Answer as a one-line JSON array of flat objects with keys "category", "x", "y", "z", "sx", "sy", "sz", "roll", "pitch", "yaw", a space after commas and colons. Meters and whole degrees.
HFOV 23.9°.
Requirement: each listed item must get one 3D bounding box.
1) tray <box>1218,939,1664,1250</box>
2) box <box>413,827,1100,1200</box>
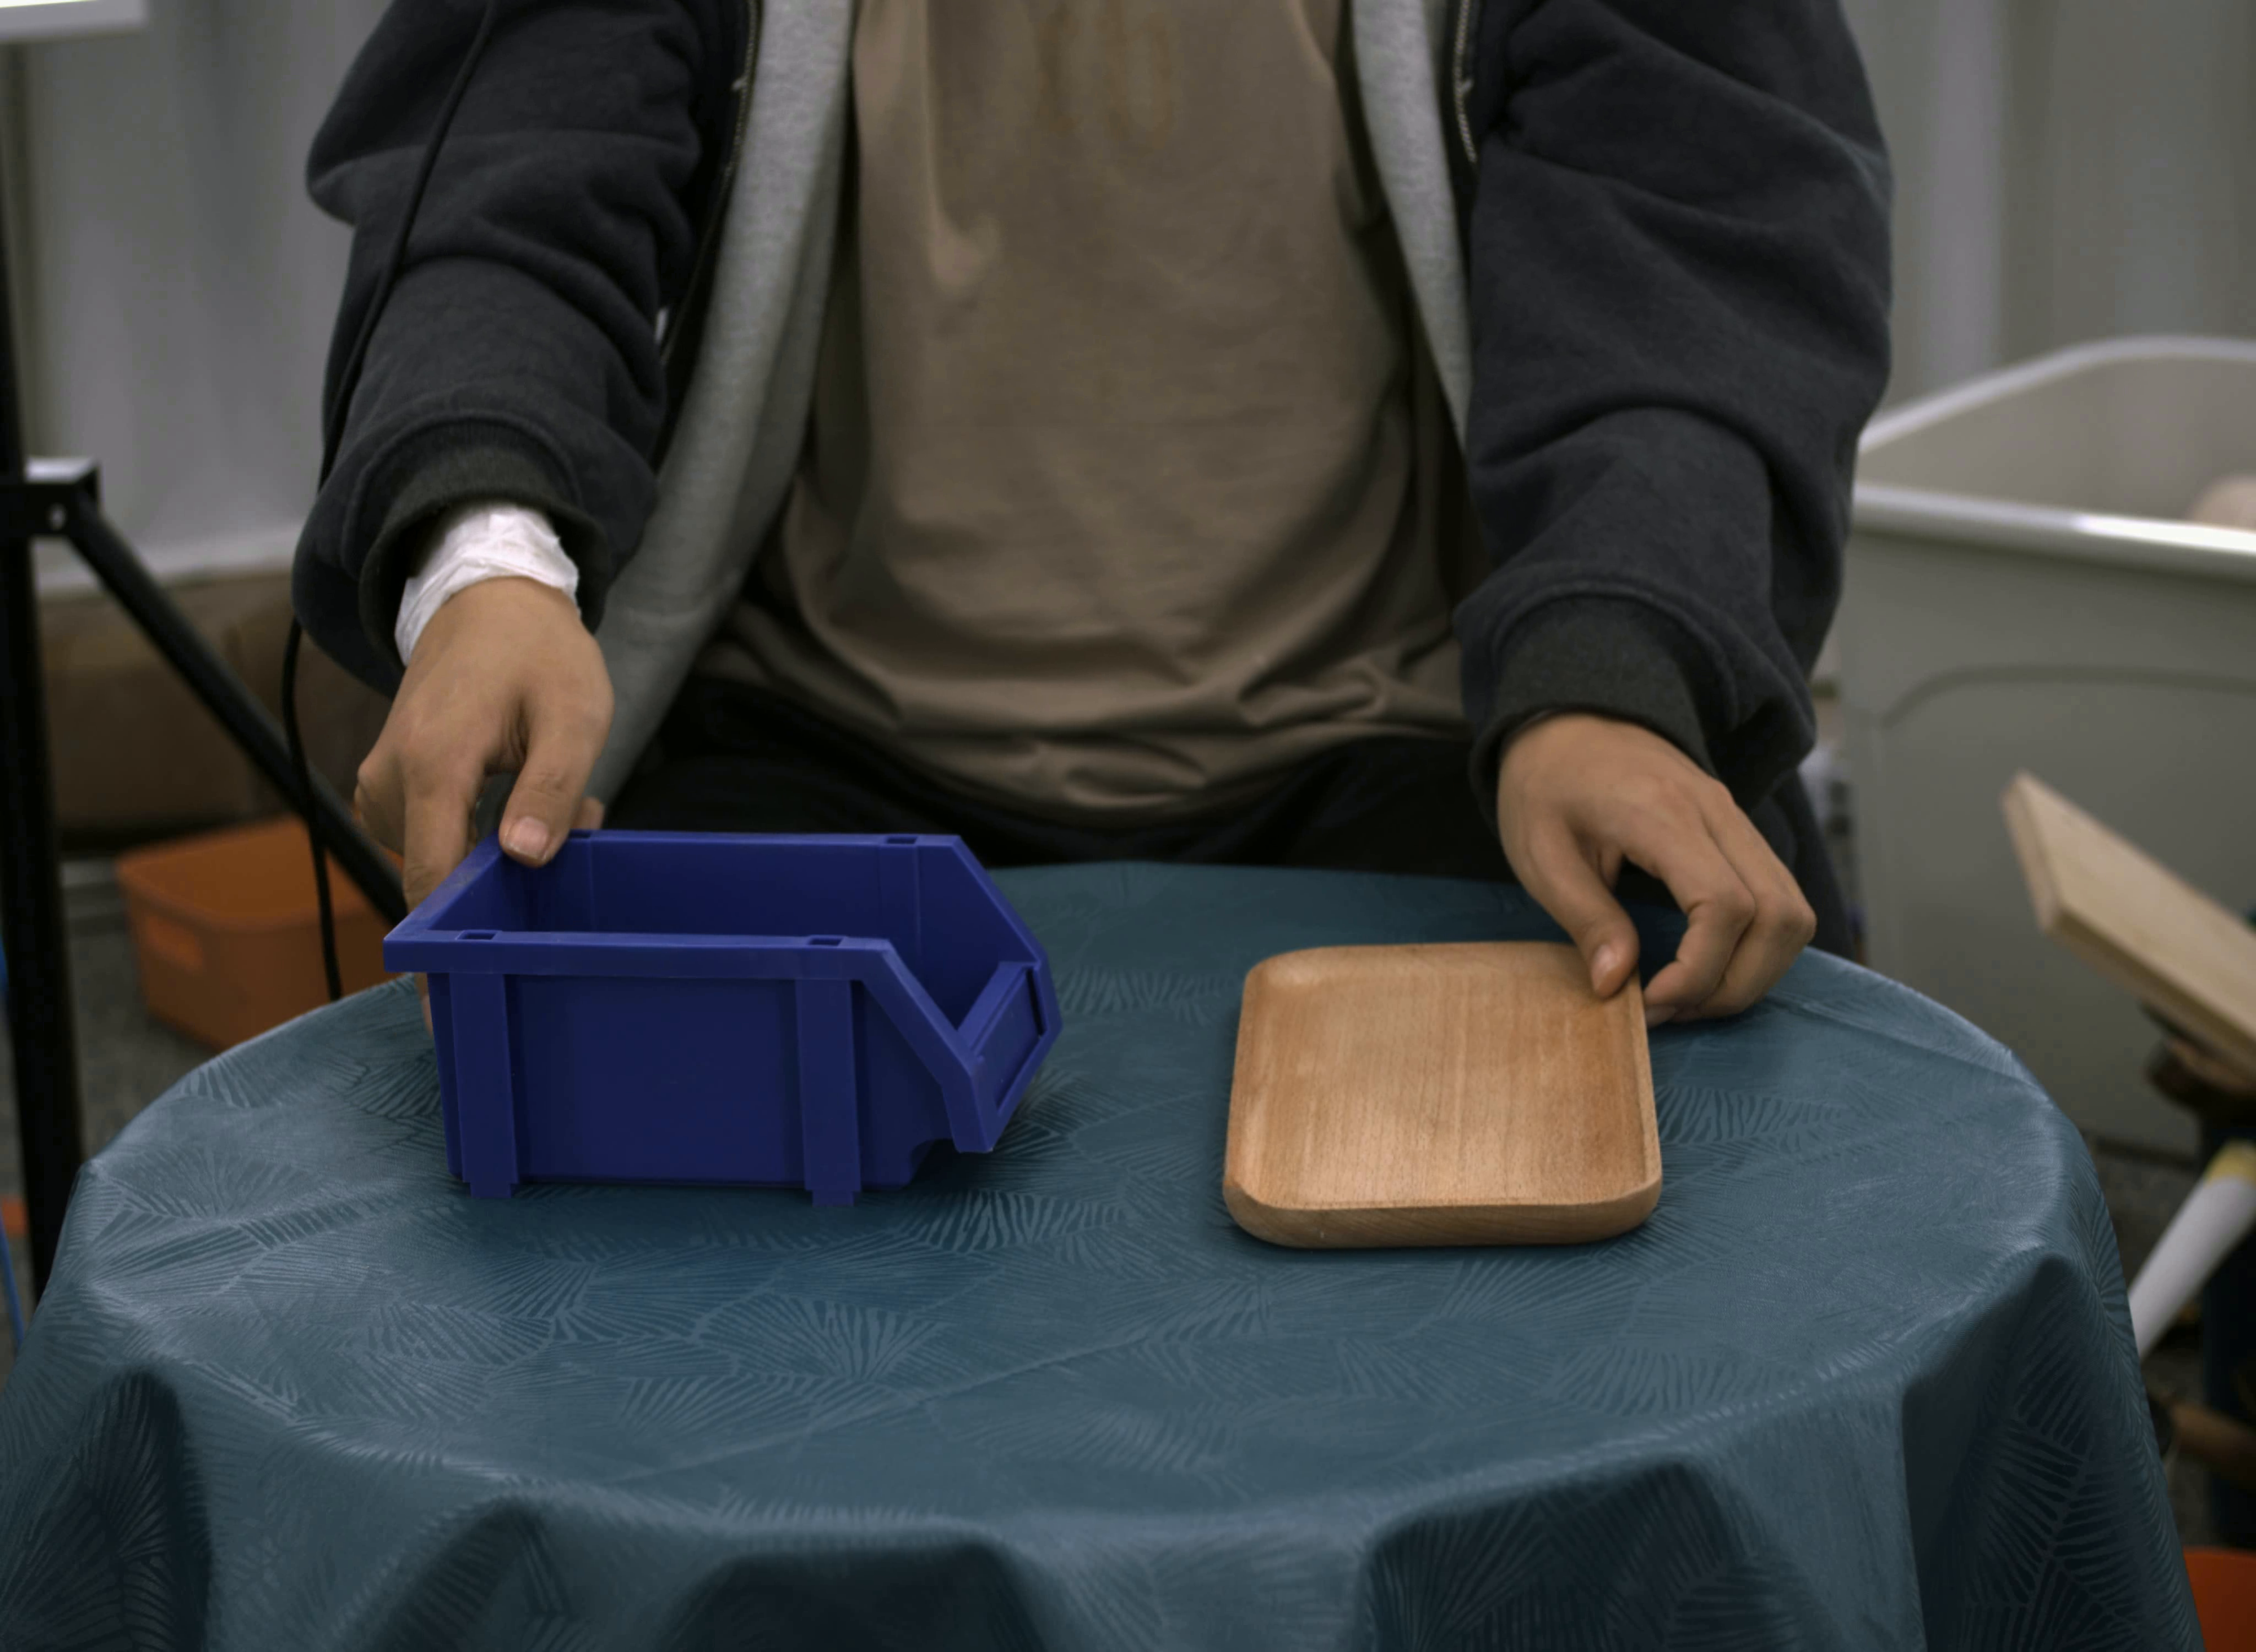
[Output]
[{"category": "tray", "x": 0.095, "y": 0.079, "z": 1.613, "sx": 0.130, "sy": 0.023, "sz": 0.251, "roll": 1, "pitch": 16, "yaw": 4}, {"category": "box", "x": -0.108, "y": 0.055, "z": 1.616, "sx": 0.180, "sy": 0.082, "sz": 0.123, "roll": -2, "pitch": 15, "yaw": 15}]
